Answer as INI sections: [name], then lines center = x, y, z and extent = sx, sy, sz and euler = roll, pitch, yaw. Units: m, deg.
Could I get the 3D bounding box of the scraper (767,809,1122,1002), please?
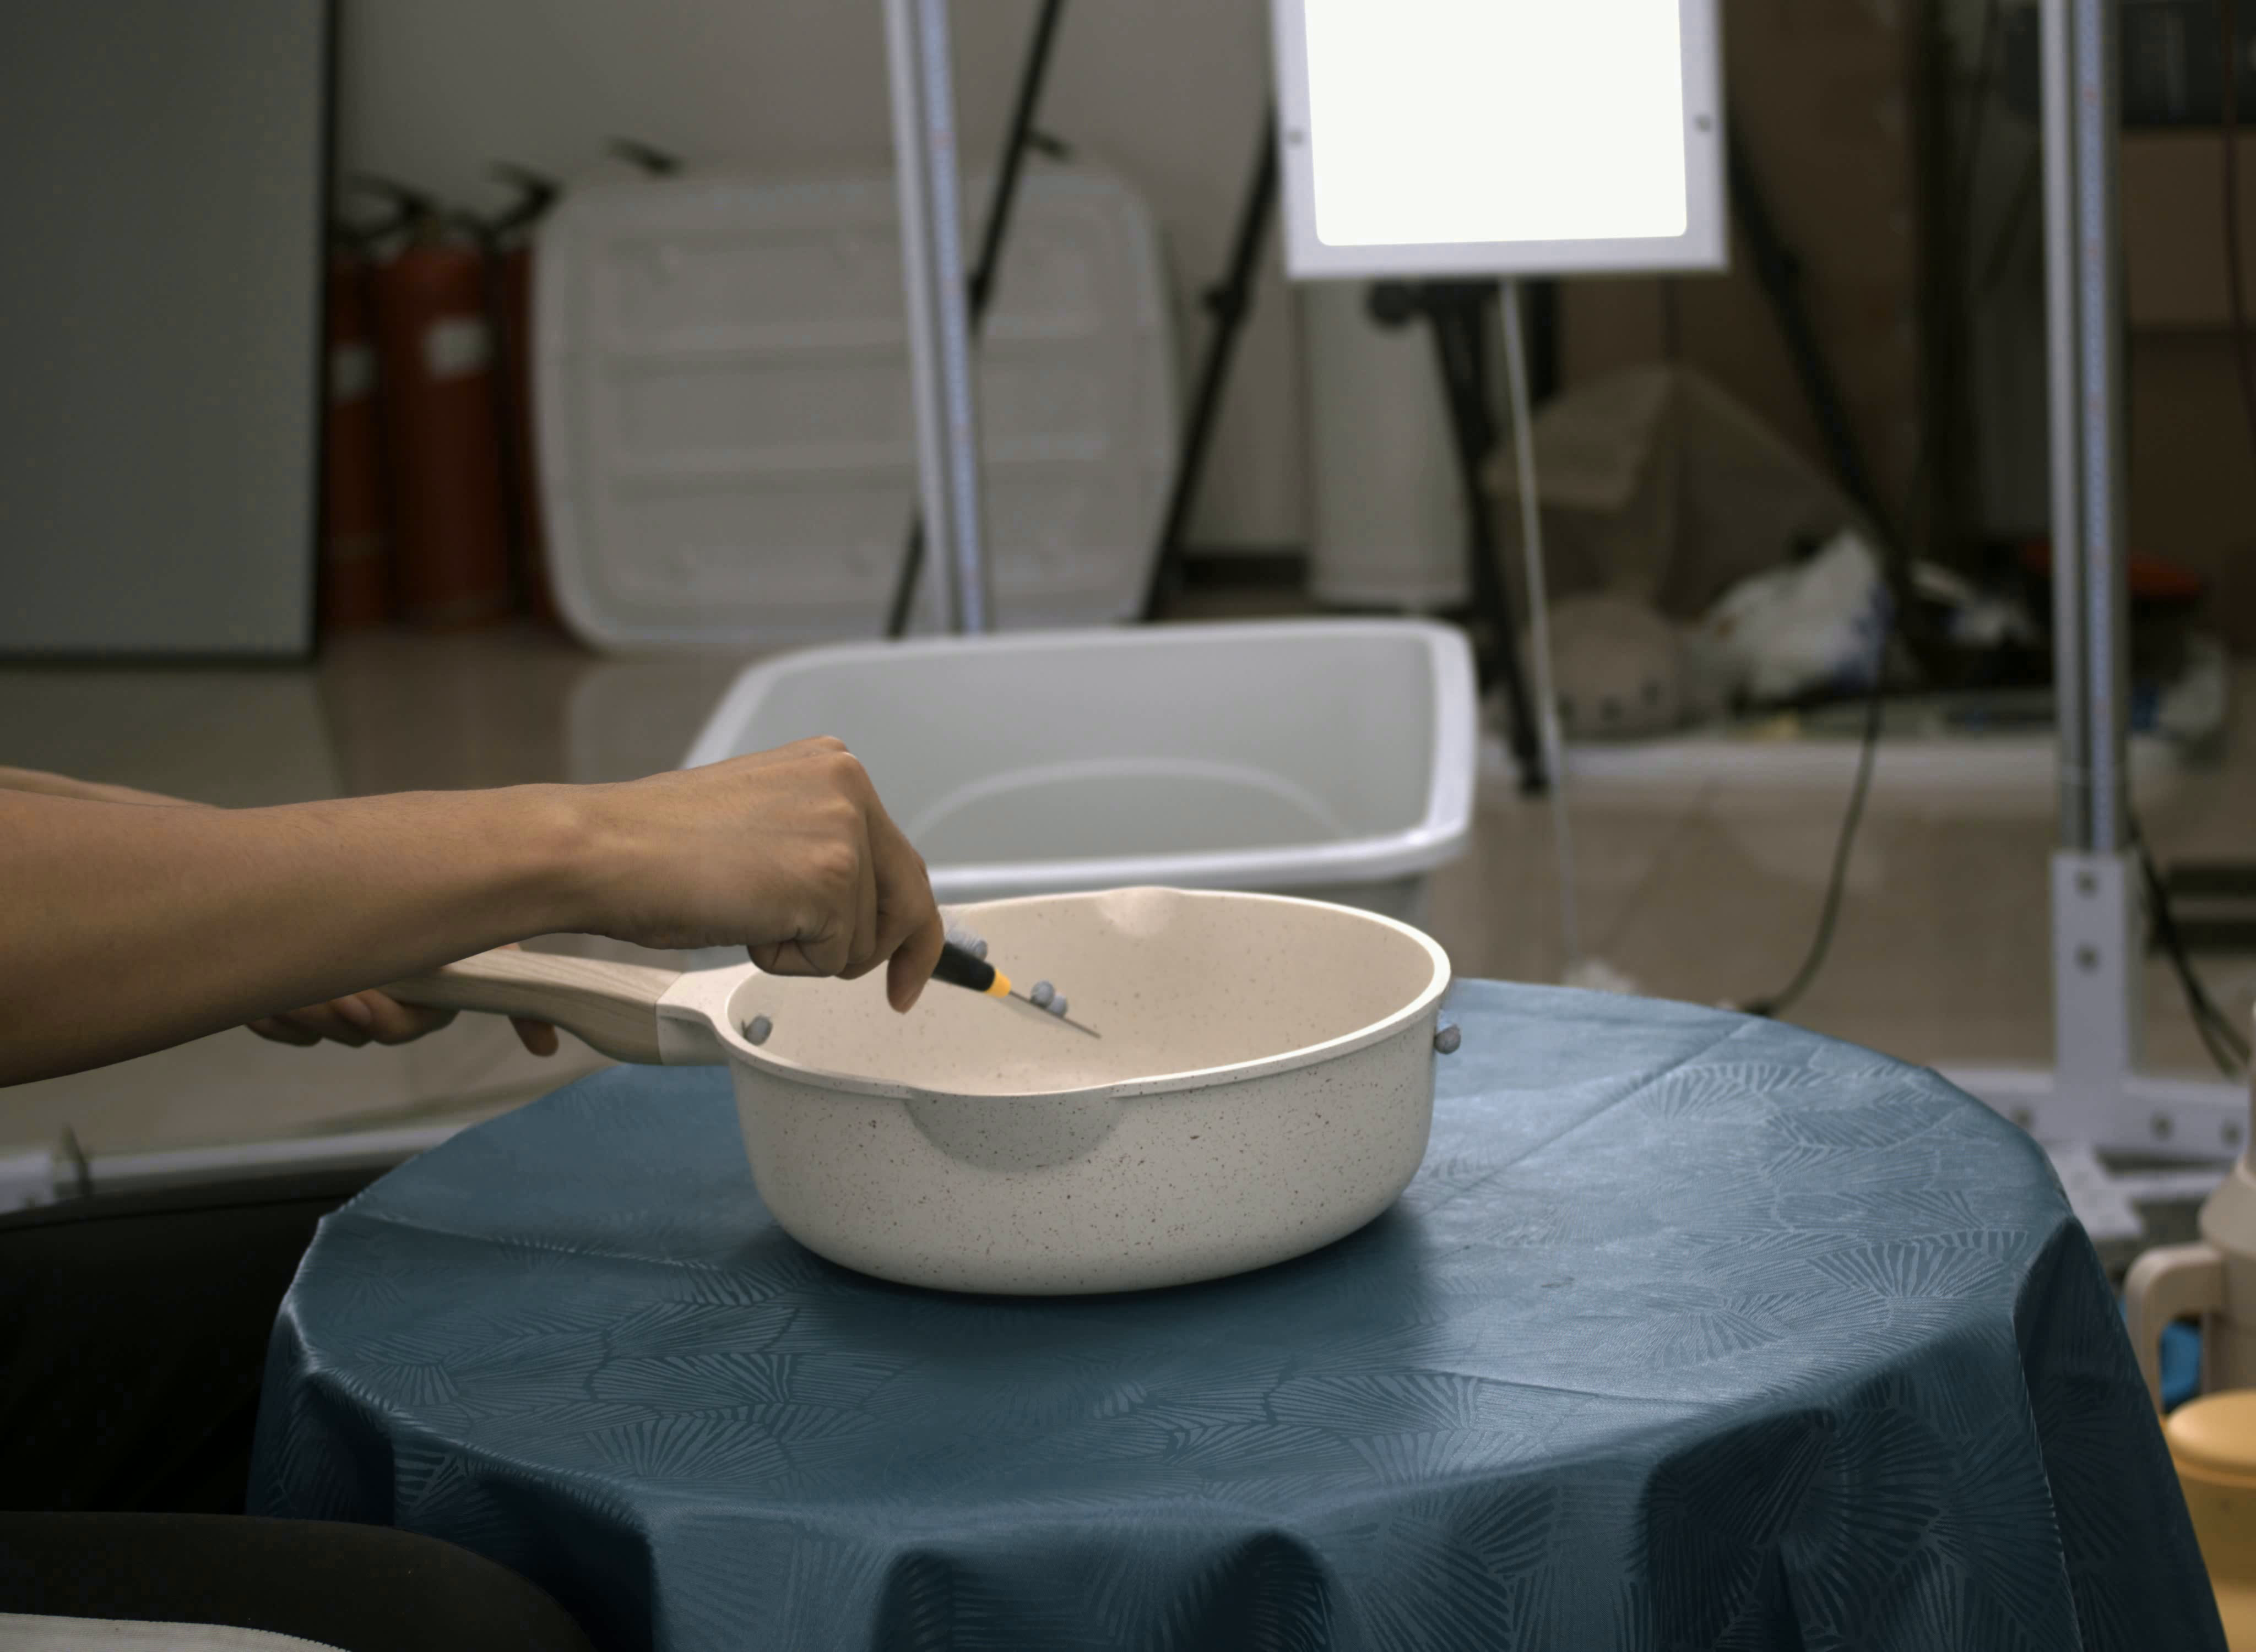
[scraper]
center = -0.060, 0.027, 1.790
extent = 0.039, 0.015, 0.167
euler = 24, -4, 41

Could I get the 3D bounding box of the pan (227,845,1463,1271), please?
[pan]
center = -0.098, 0.078, 1.909
extent = 0.438, 0.102, 0.260
euler = -2, 16, 12
